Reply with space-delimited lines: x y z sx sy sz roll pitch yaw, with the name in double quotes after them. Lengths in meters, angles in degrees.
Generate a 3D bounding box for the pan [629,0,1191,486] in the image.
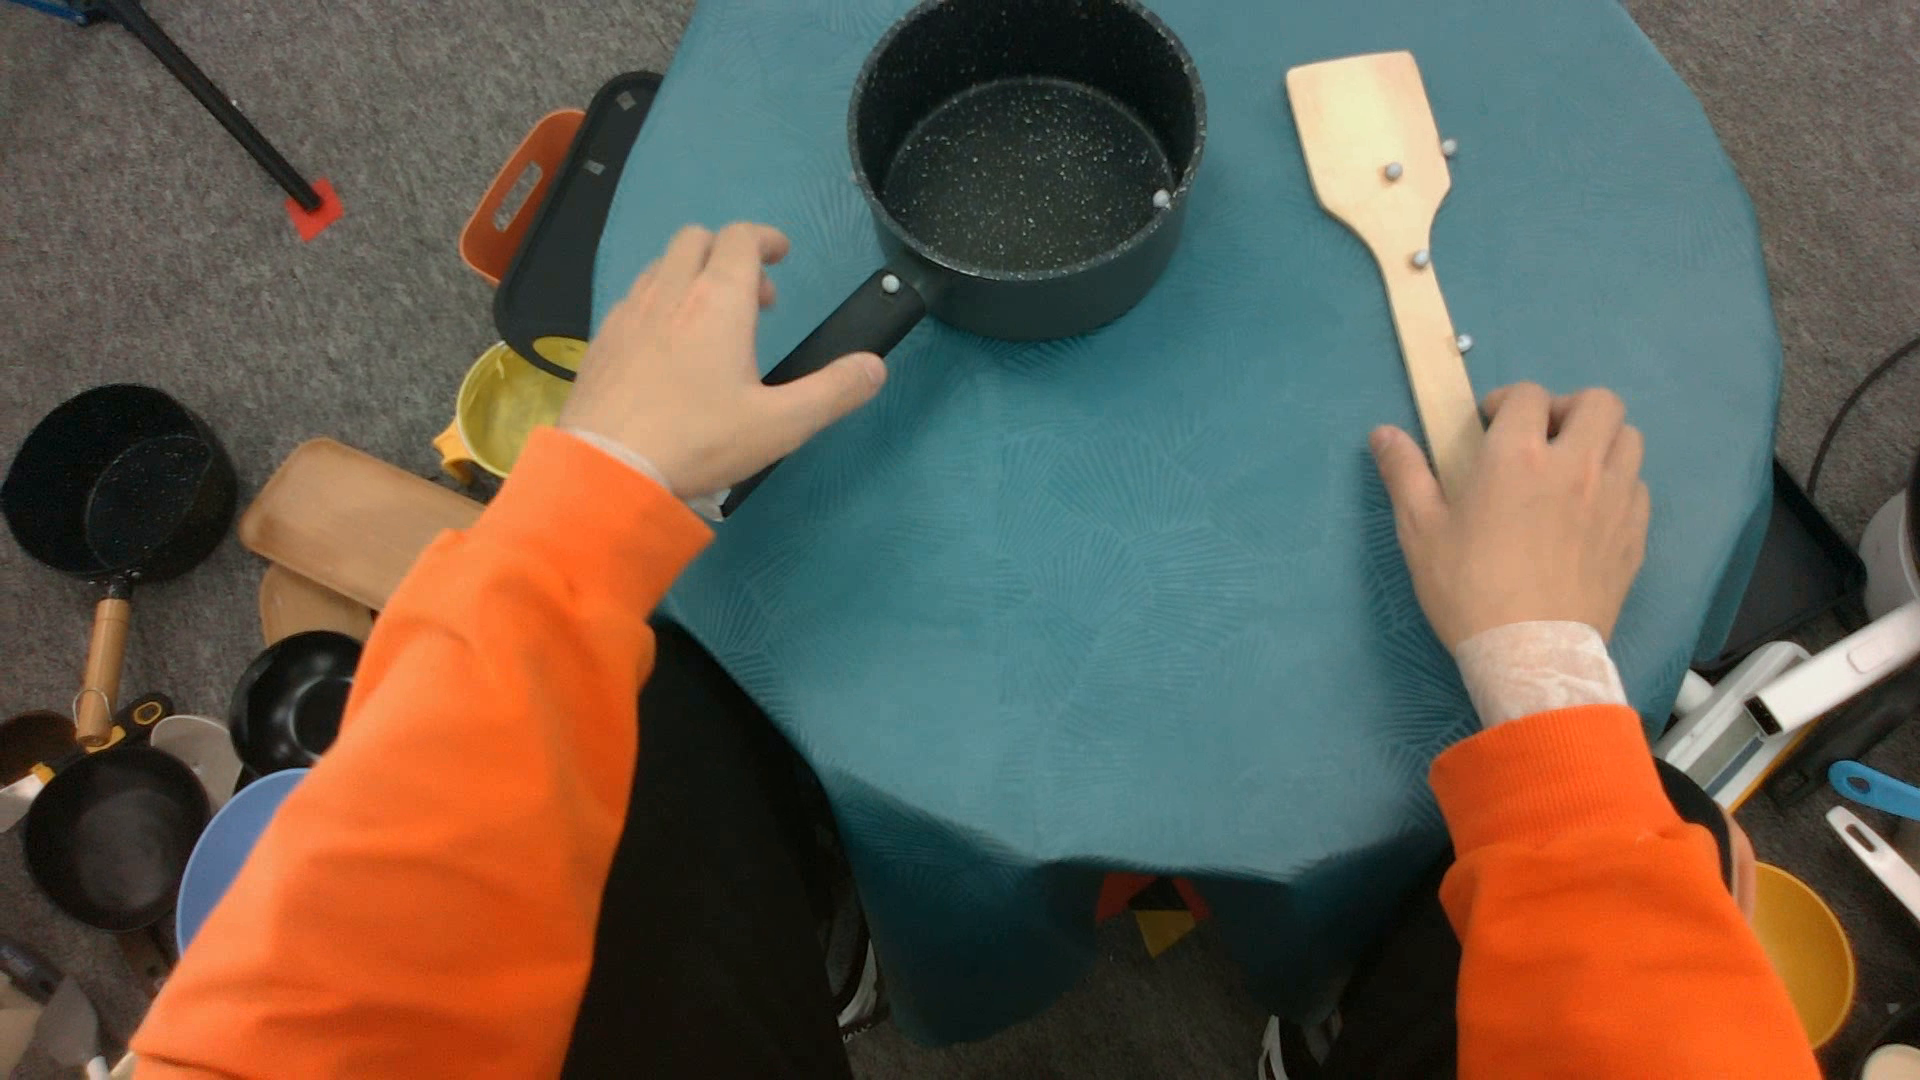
-0.025 -0.138 0.670 0.172 0.086 0.329 38 75 15 "pan"

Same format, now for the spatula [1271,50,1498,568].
0.221 -0.124 0.692 0.072 0.010 0.294 -7 70 -3 "spatula"
